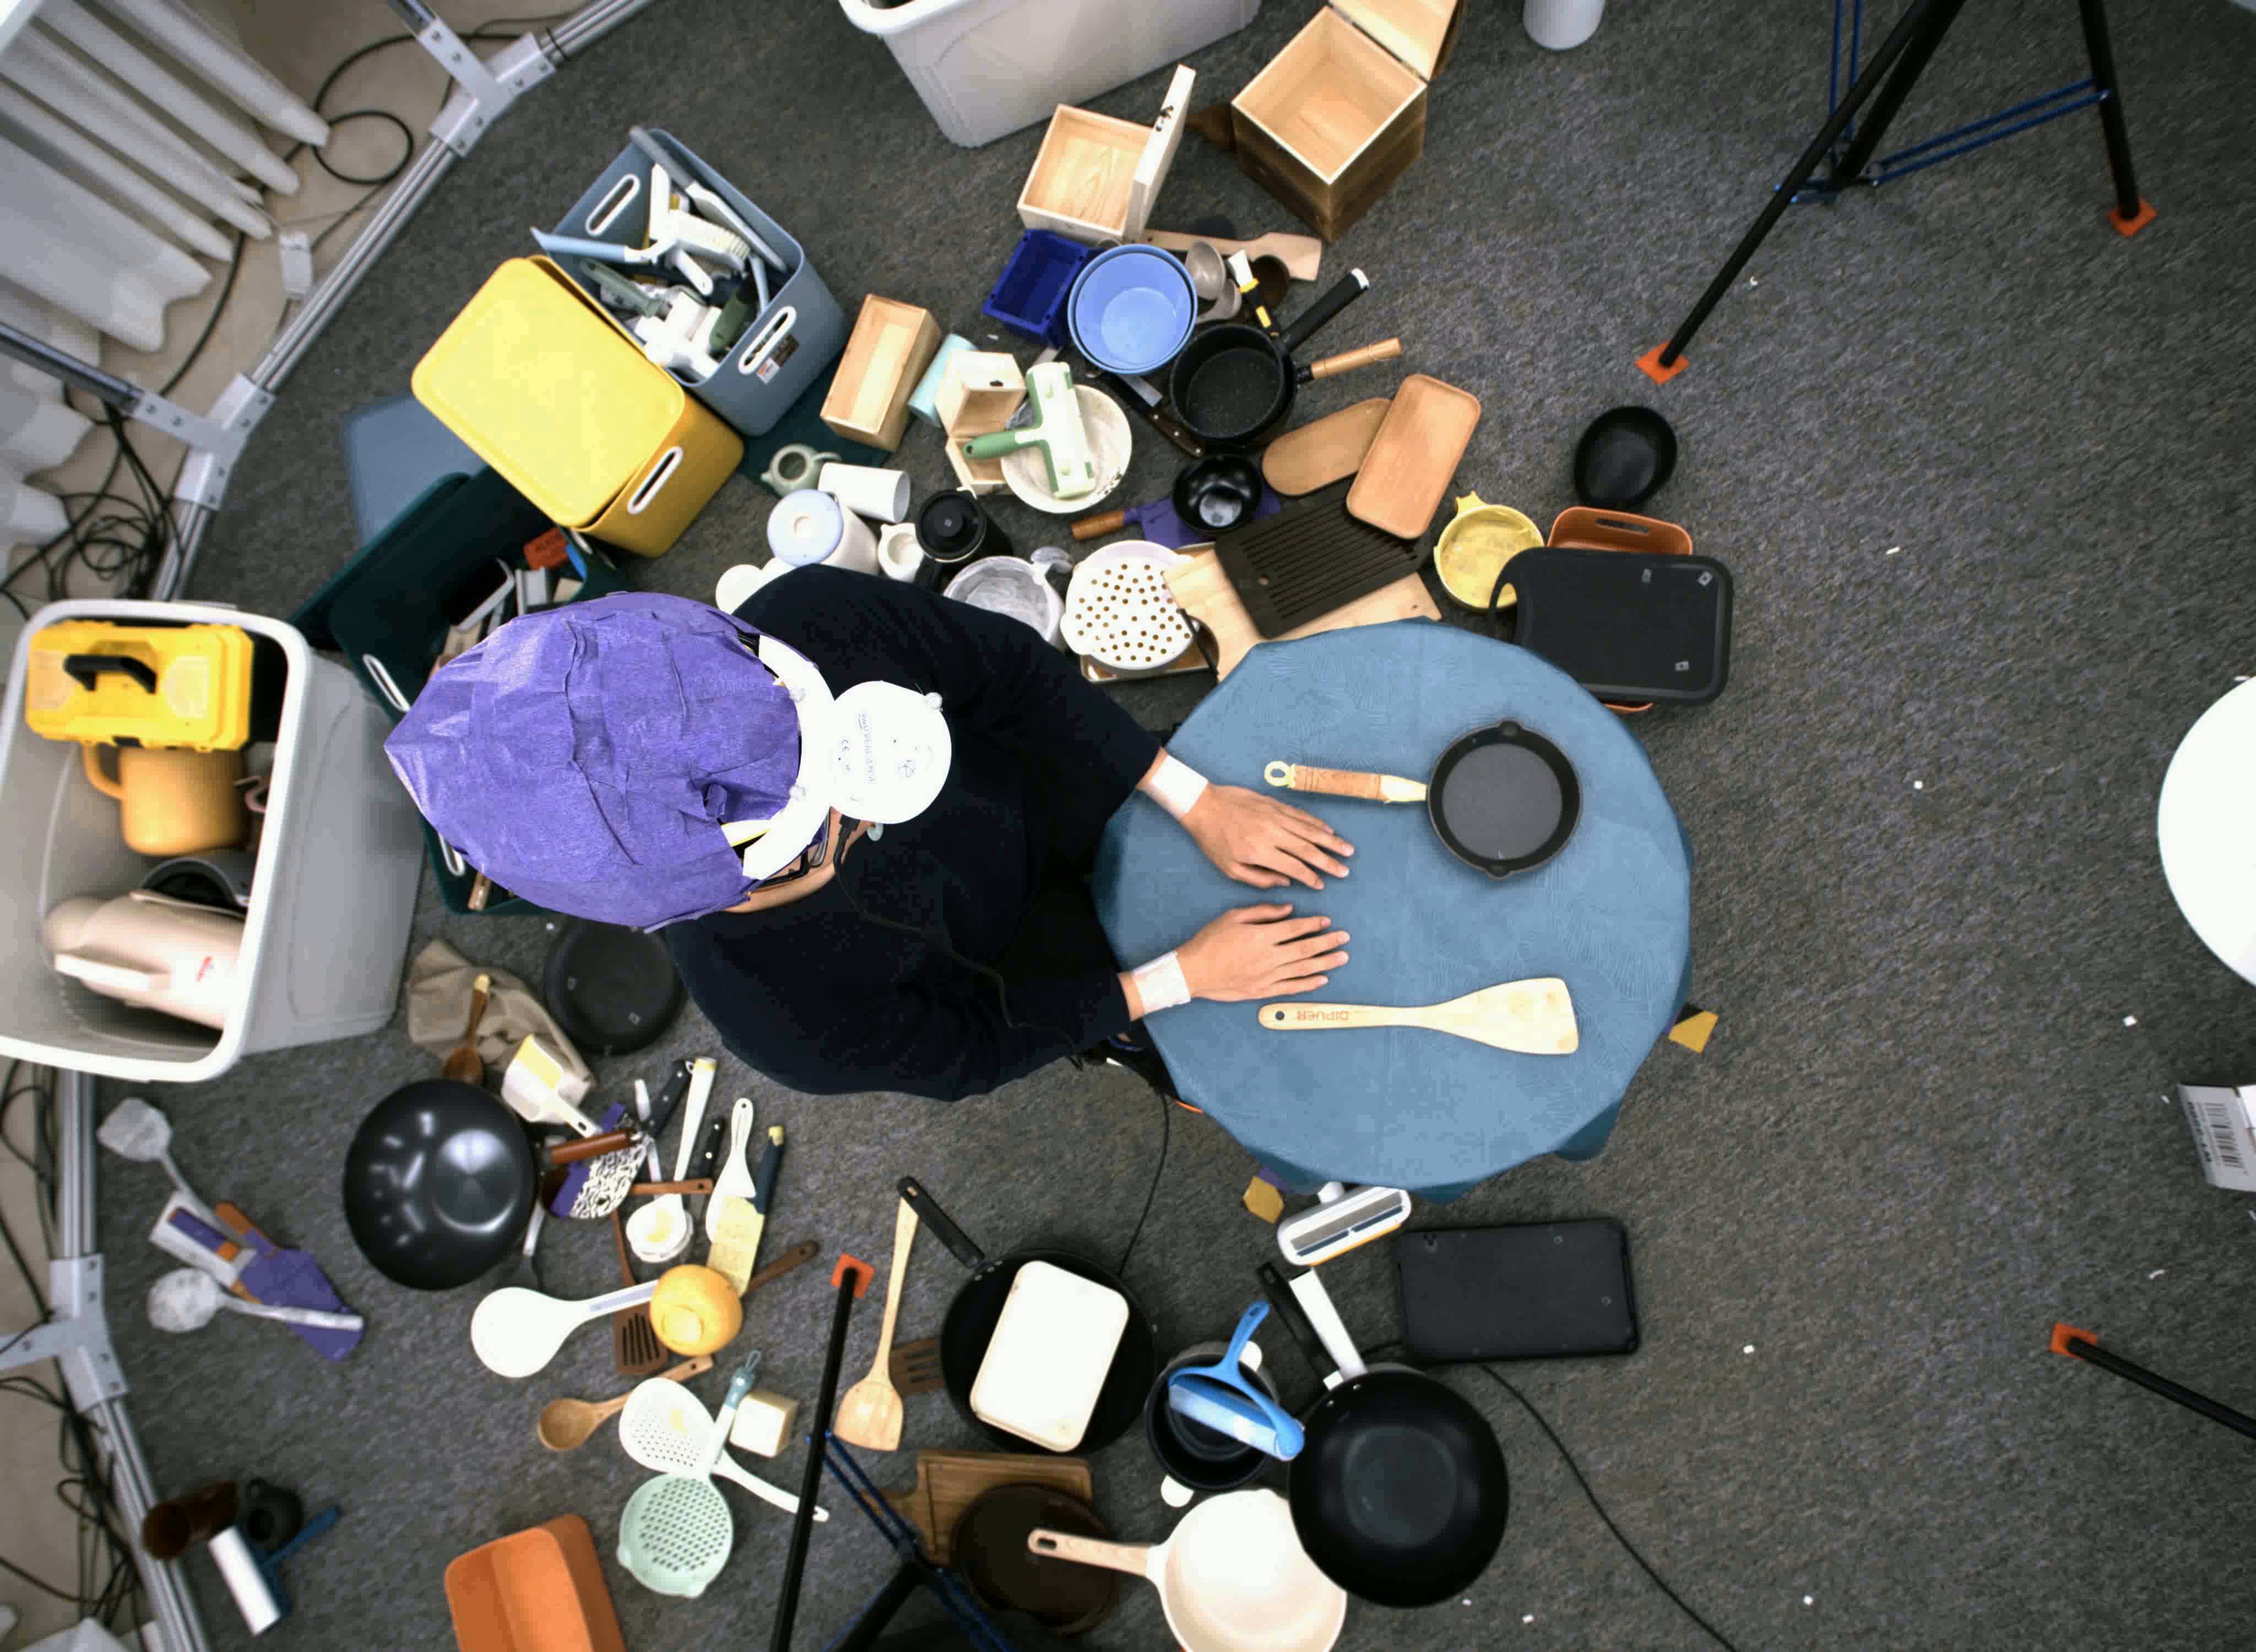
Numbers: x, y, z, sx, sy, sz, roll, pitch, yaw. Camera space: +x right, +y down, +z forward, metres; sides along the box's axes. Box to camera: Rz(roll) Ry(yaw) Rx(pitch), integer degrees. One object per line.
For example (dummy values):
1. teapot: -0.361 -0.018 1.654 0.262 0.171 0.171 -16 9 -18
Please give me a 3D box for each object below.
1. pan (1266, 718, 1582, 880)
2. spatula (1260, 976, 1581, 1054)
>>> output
1. pan: 0.306 -0.040 1.434 0.325 0.049 0.168 8 88 9
2. spatula: 0.301 0.195 1.439 0.329 0.016 0.079 -2 86 10
